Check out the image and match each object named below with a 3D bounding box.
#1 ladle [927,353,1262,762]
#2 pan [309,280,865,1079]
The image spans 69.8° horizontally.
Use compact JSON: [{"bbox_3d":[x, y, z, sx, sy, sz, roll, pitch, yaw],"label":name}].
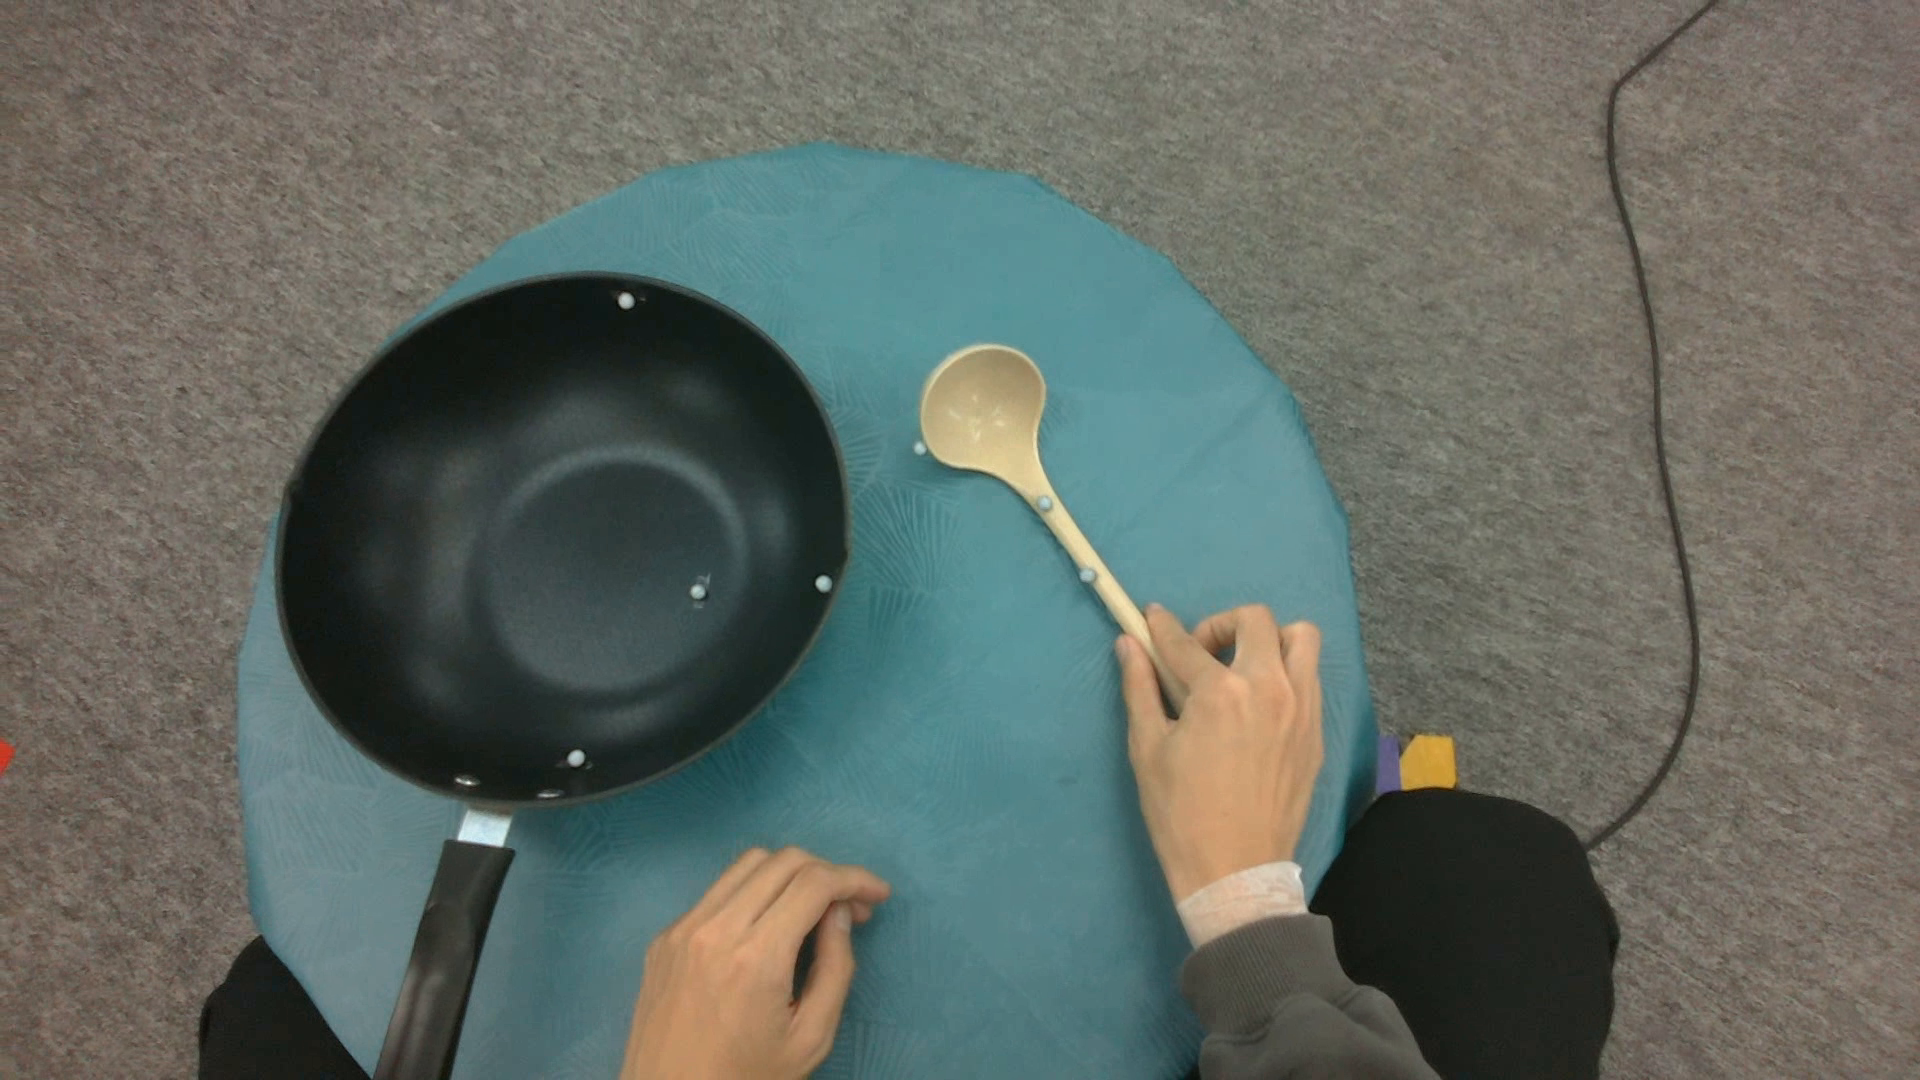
[{"bbox_3d":[0.072,0.007,0.713,0.072,0.072,0.255,-36,69,-2],"label":"ladle"},{"bbox_3d":[-0.202,0.091,0.697,0.288,0.086,0.464,8,71,7],"label":"pan"}]
